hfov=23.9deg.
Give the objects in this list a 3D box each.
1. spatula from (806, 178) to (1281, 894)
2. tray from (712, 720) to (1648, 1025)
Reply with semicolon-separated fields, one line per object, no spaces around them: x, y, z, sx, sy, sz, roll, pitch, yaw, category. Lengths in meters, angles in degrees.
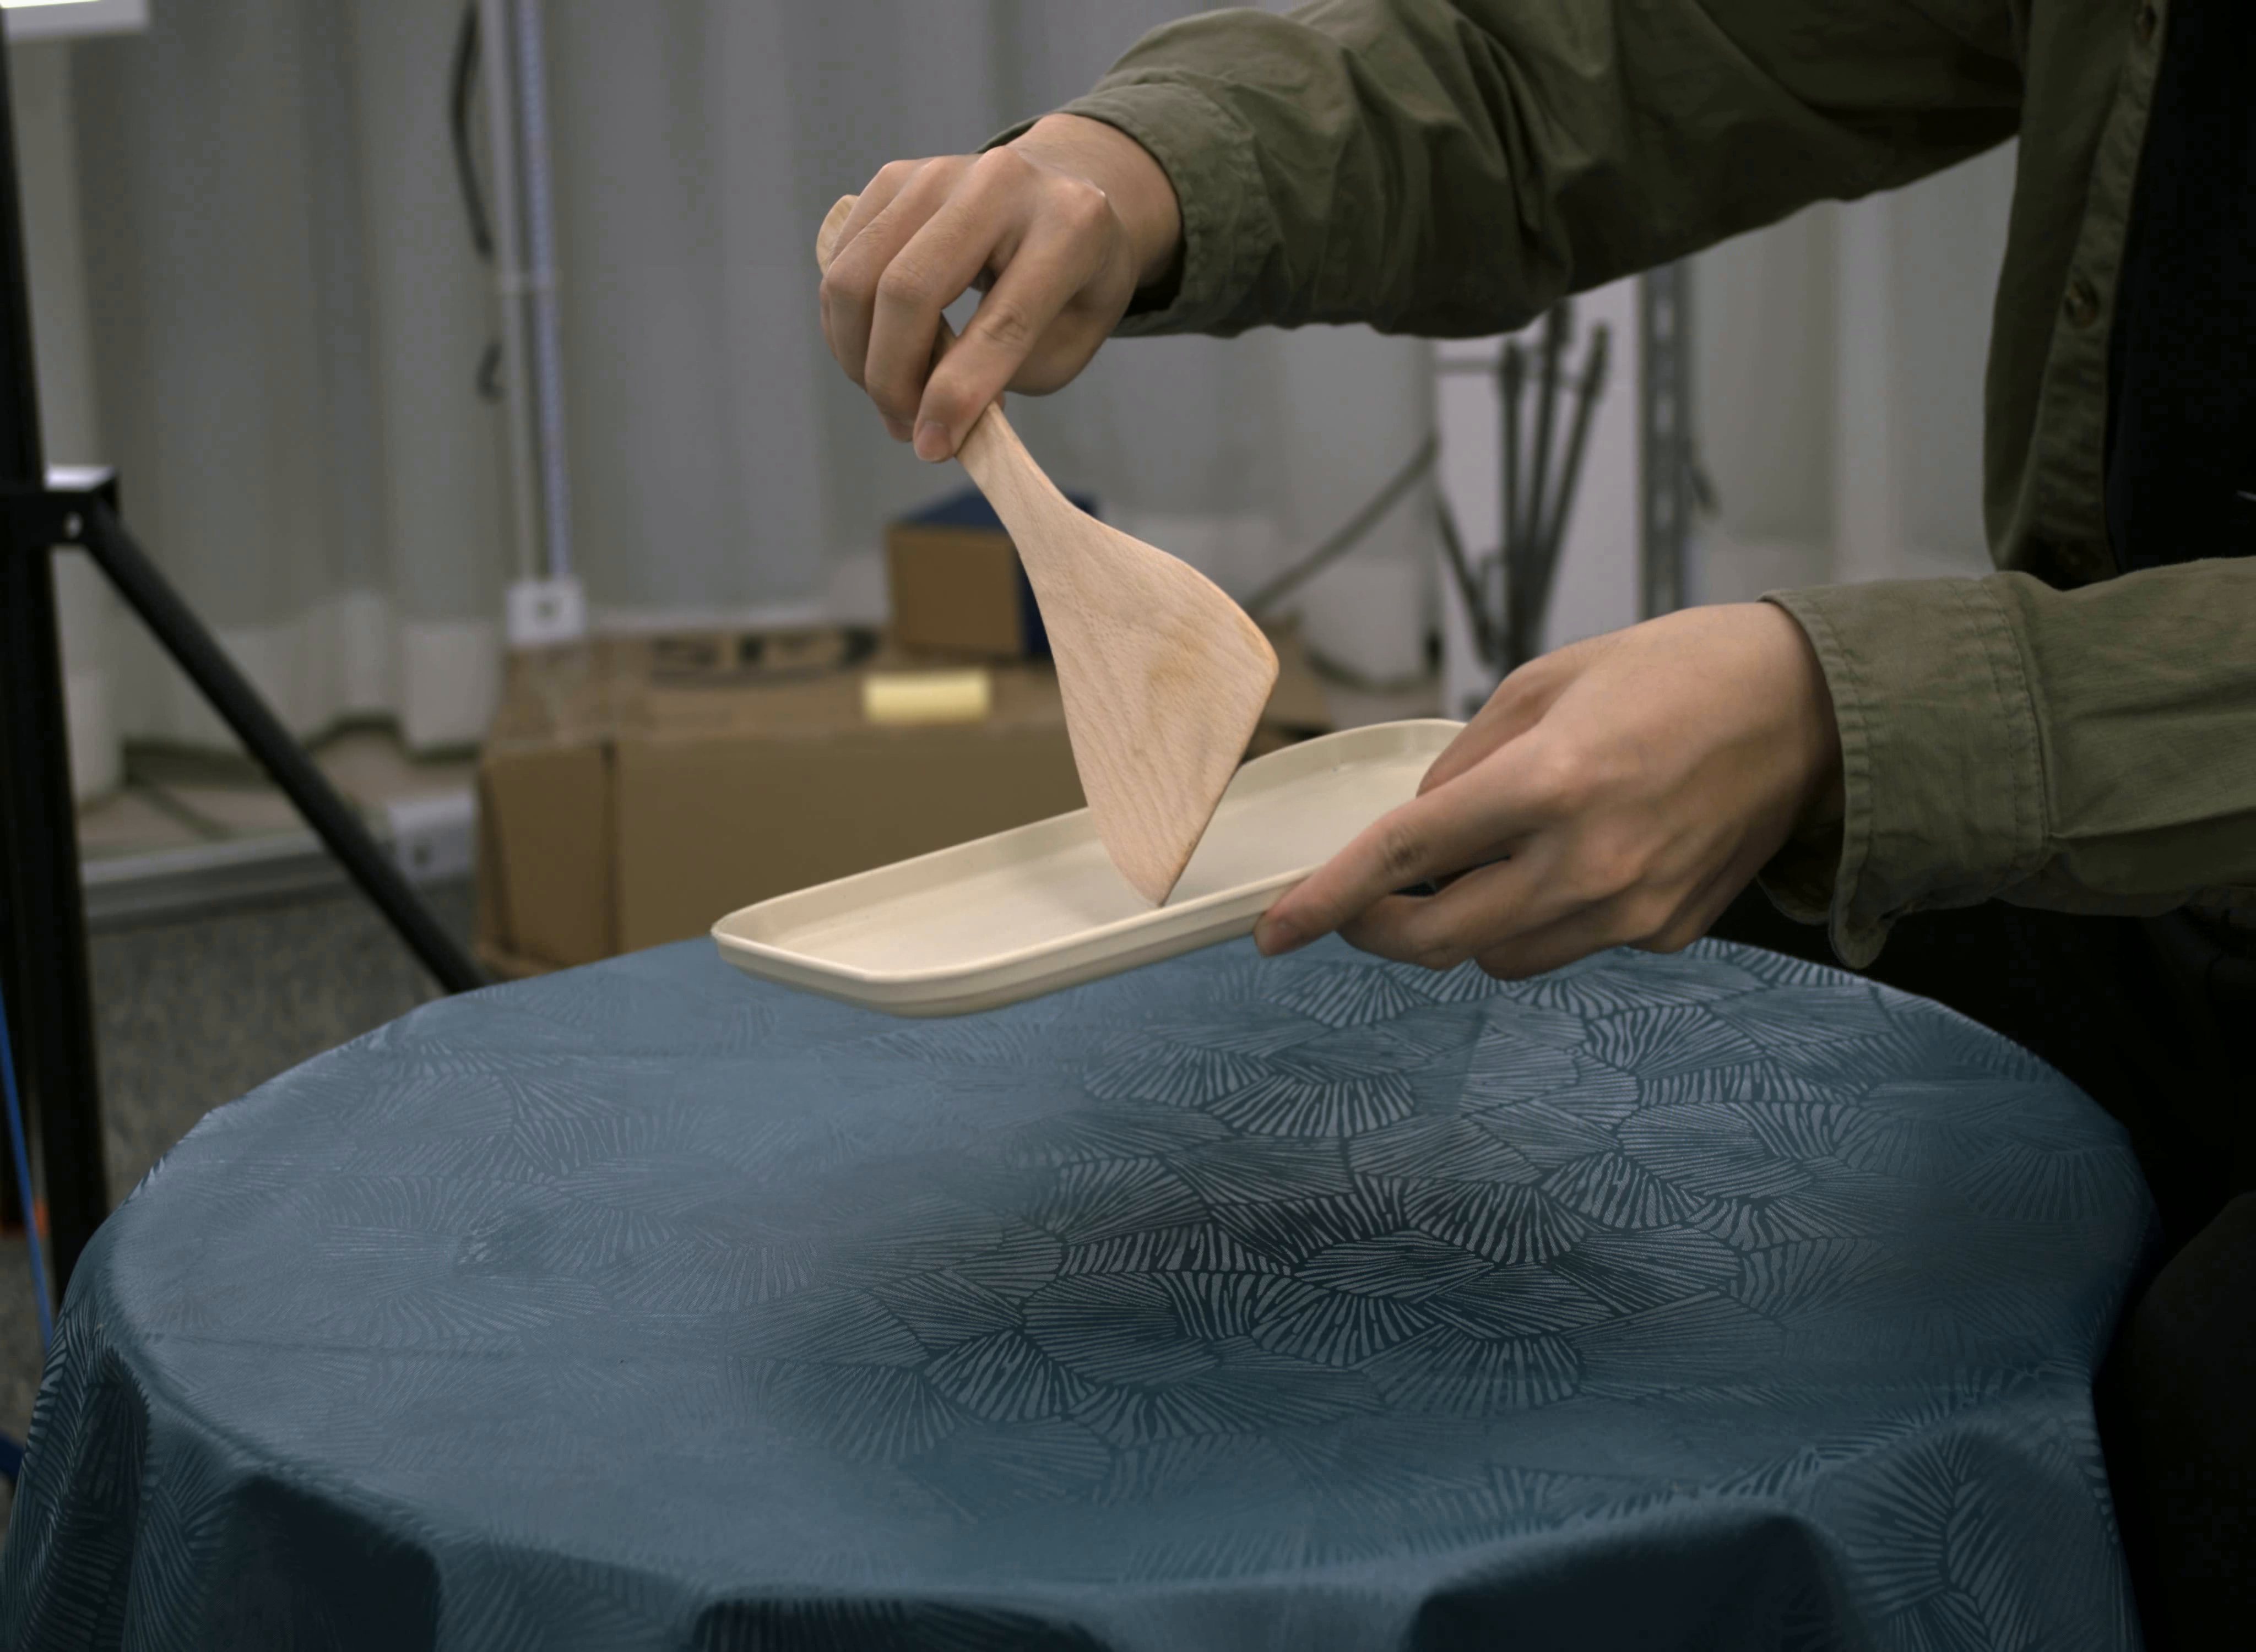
-0.033;-0.101;1.527;0.016;0.080;0.334;16;26;-36;spatula
0.014;0.012;1.484;0.235;0.017;0.174;-16;12;-22;tray
